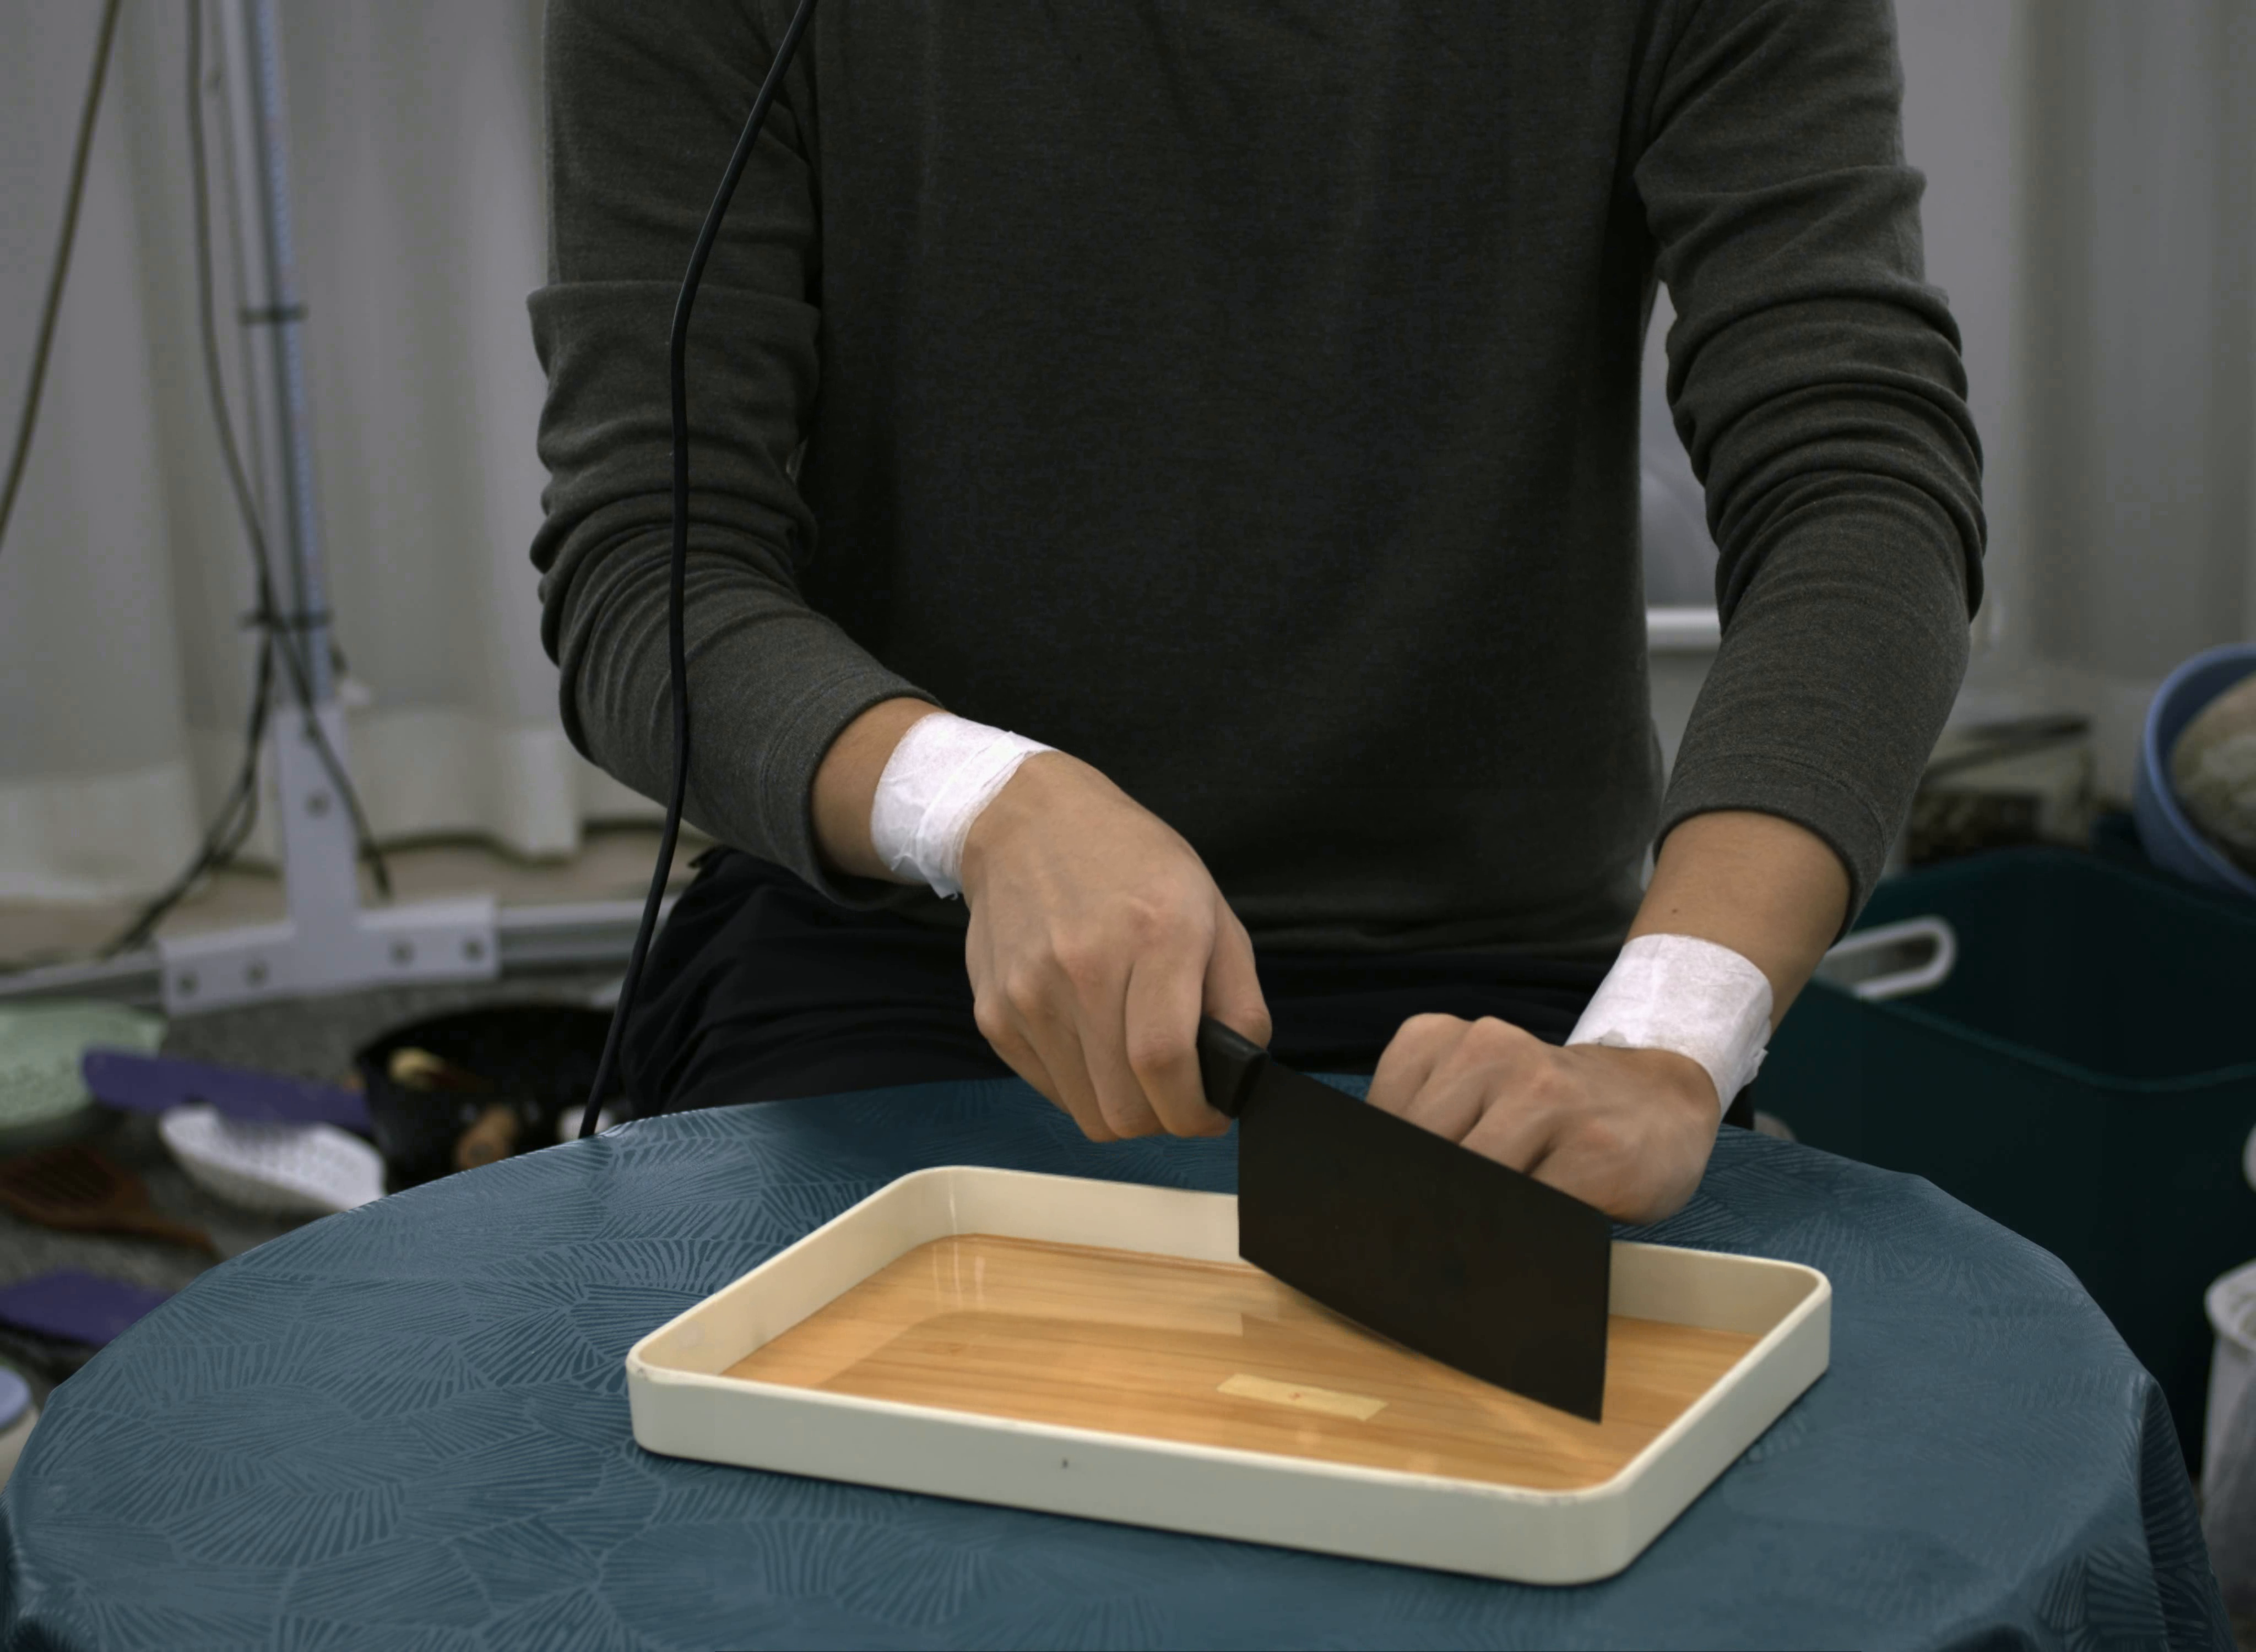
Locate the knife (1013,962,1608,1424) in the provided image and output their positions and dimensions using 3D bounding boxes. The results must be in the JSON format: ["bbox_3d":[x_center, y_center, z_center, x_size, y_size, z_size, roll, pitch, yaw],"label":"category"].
[{"bbox_3d":[0.049,0.099,1.579,0.021,0.080,0.305,-5,19,-31],"label":"knife"}]

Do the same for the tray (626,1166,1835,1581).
[{"bbox_3d":[0.030,0.149,1.530,0.301,0.027,0.192,5,16,27],"label":"tray"}]
